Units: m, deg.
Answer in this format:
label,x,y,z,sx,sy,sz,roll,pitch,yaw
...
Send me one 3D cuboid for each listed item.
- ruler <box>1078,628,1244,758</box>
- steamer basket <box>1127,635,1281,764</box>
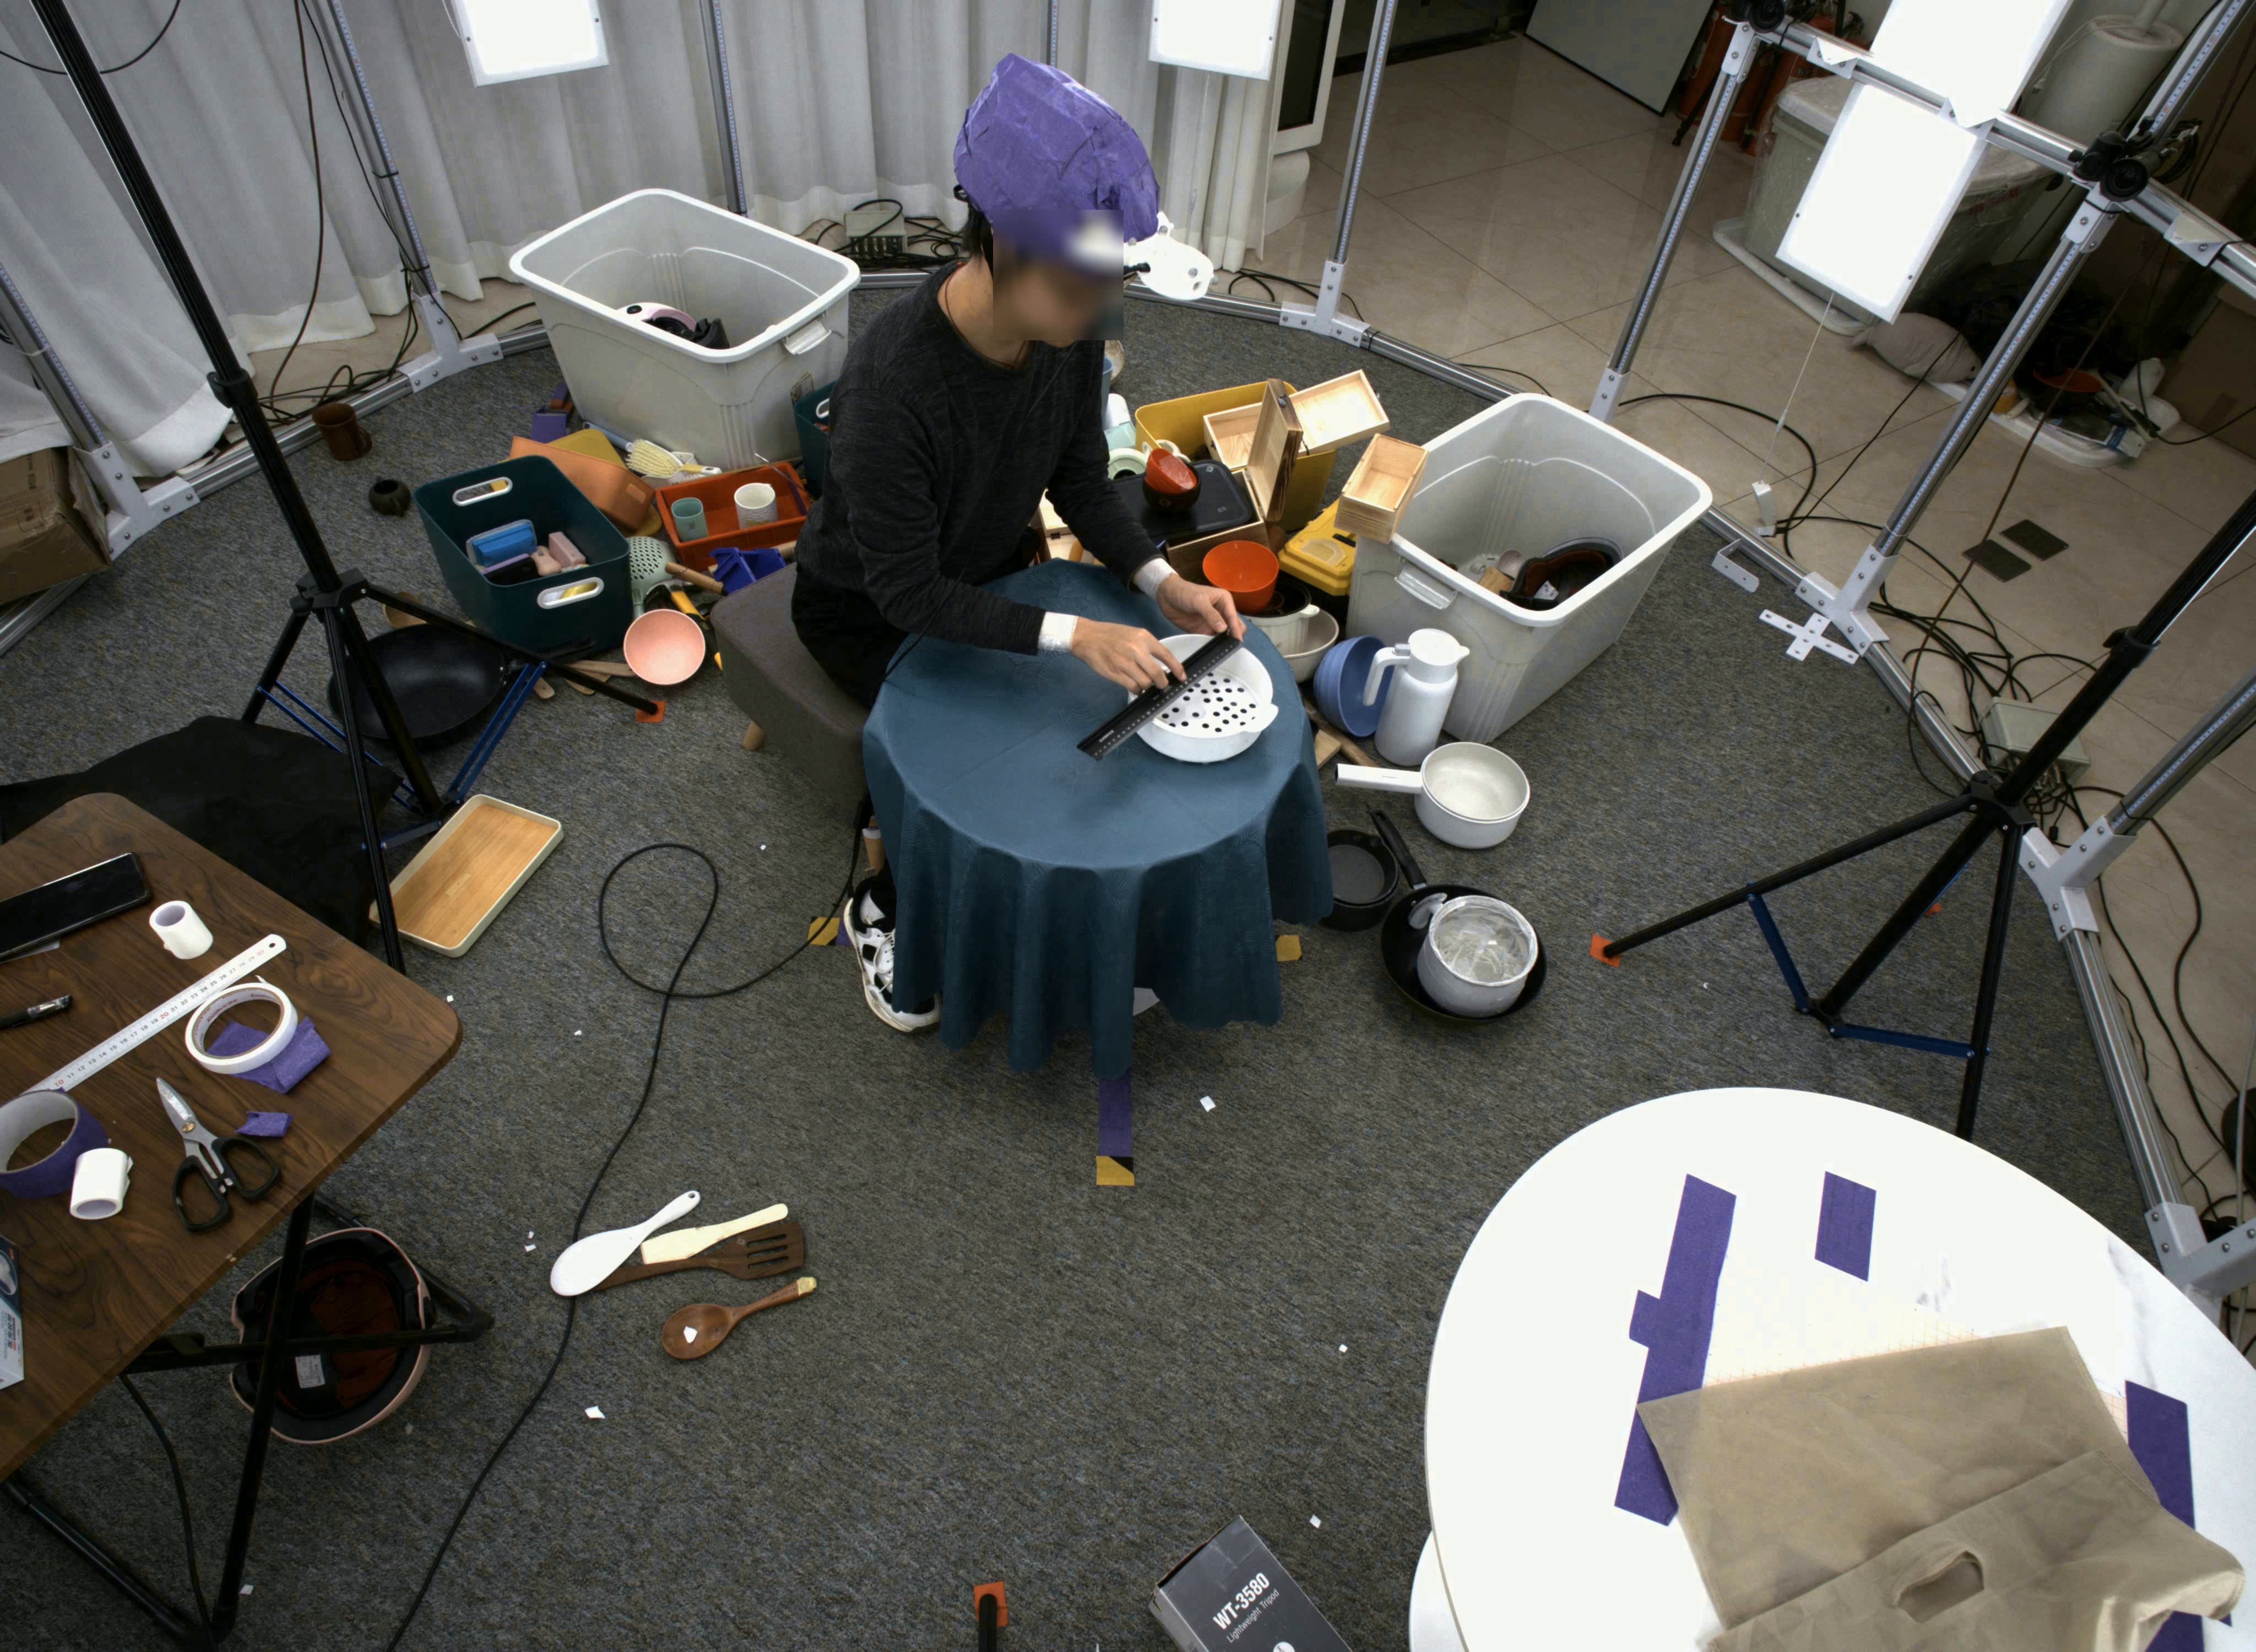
label,x,y,z,sx,sy,sz,roll,pitch,yaw
ruler,0.050,-0.184,1.734,0.040,0.017,0.316,34,55,25
steamer basket,0.101,-0.175,1.784,0.233,0.067,0.205,30,53,18
